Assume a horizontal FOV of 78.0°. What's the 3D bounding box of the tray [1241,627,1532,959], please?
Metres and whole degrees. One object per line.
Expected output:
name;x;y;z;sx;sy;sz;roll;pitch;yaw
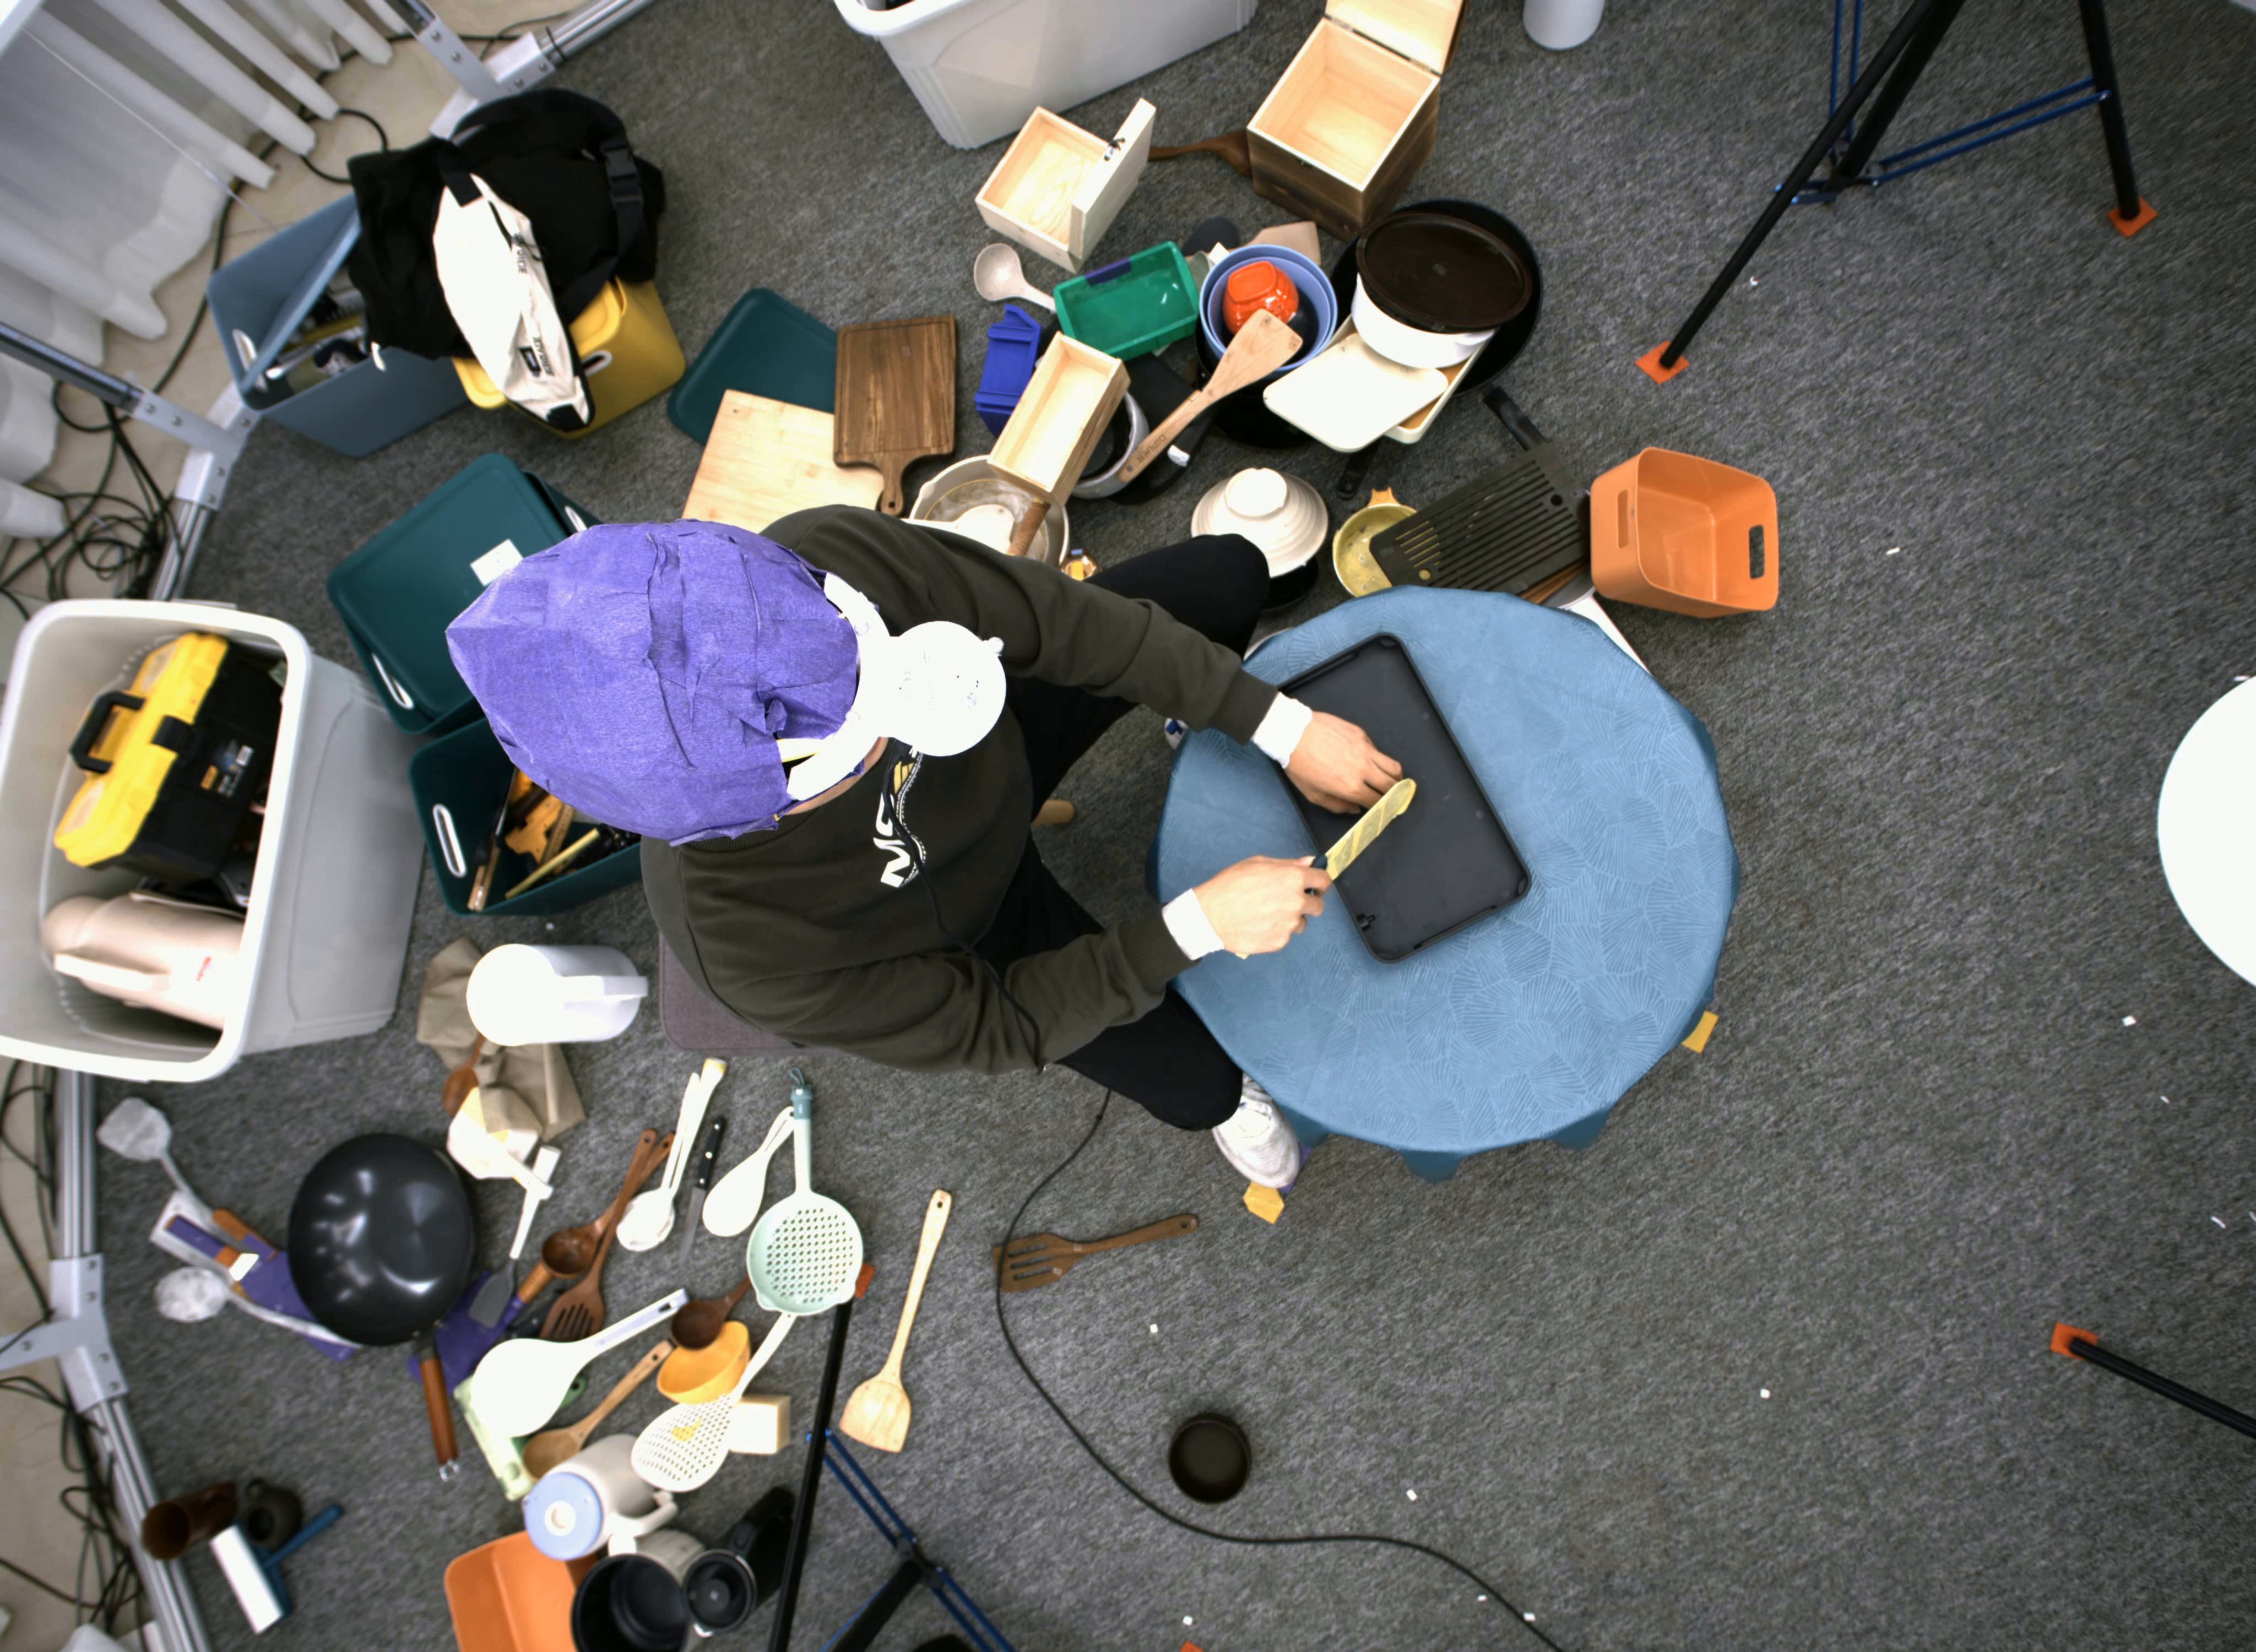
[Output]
tray;0.269;-0.036;1.447;0.185;0.037;0.316;-30;82;8

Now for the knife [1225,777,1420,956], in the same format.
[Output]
knife;0.200;0.039;1.379;0.285;0.083;0.027;-39;62;-21
